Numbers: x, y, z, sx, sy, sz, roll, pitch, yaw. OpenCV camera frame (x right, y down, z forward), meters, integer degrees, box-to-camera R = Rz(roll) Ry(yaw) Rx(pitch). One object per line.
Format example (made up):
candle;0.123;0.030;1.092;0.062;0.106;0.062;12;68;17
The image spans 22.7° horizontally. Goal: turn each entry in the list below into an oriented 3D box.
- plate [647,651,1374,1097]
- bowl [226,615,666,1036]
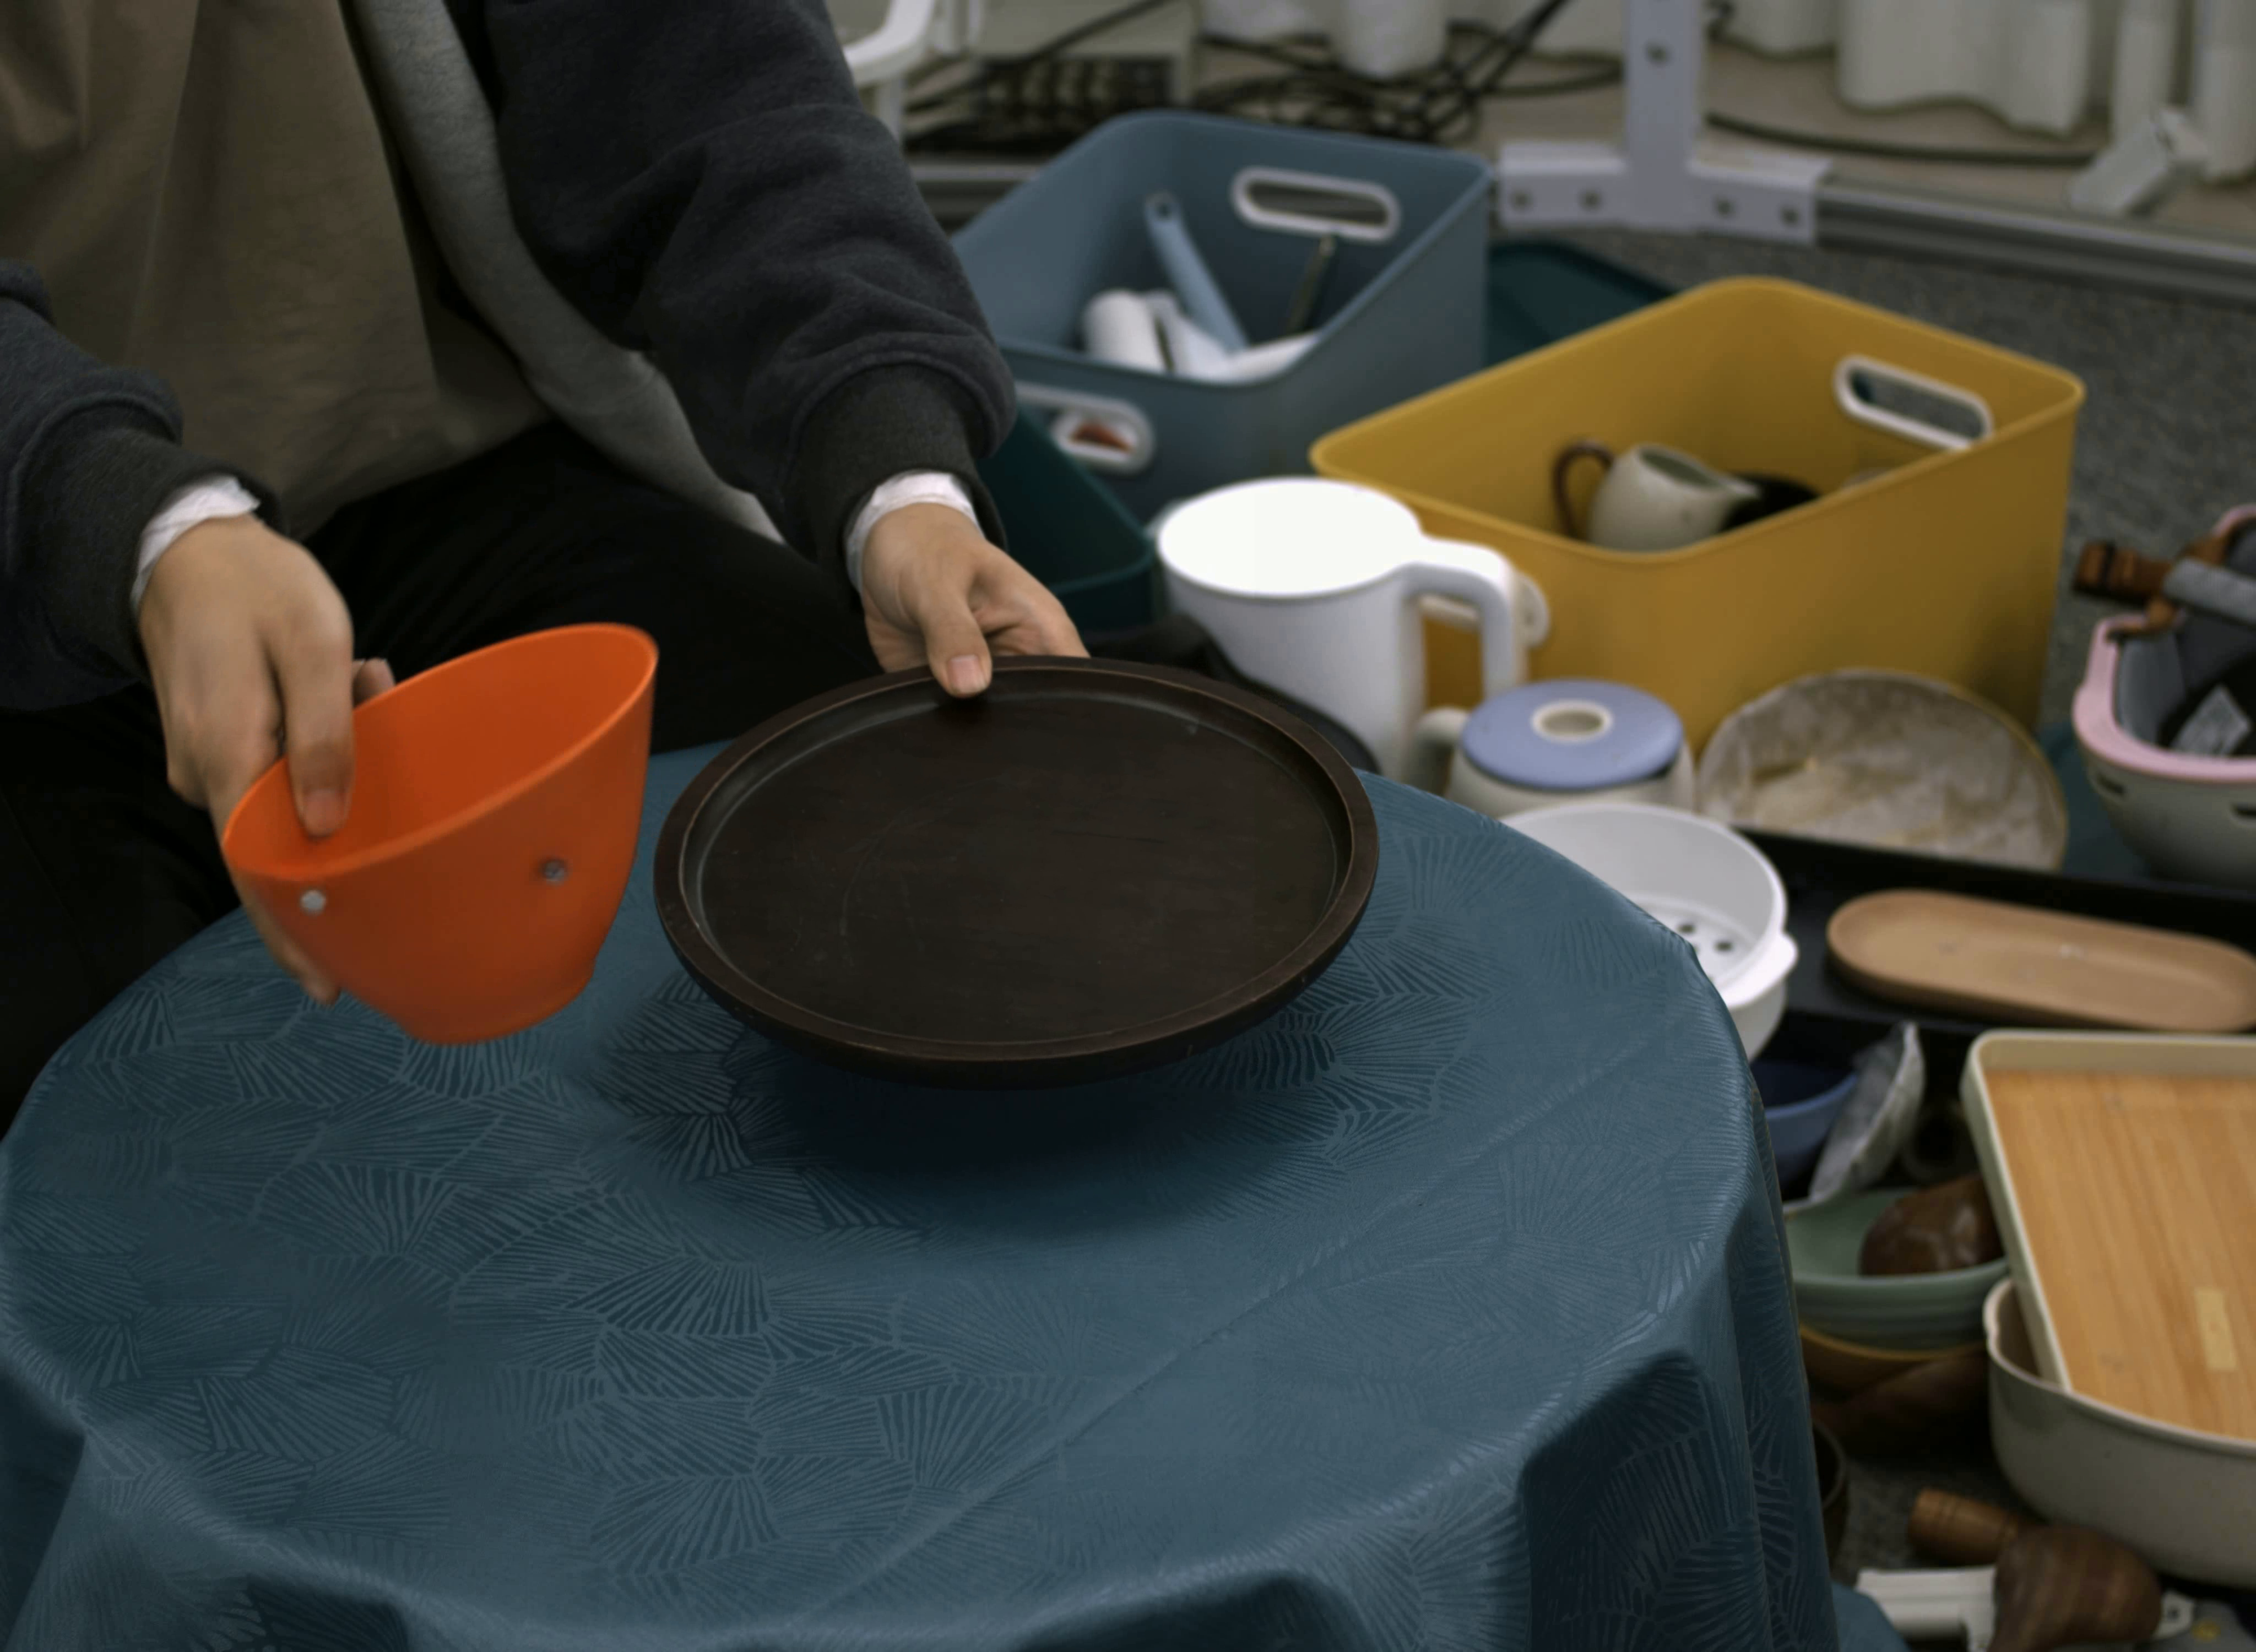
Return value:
plate;-0.040;0.015;1.948;0.253;0.028;0.259;-2;34;2
bowl;-0.204;0.007;1.768;0.147;0.103;0.150;-12;27;6
